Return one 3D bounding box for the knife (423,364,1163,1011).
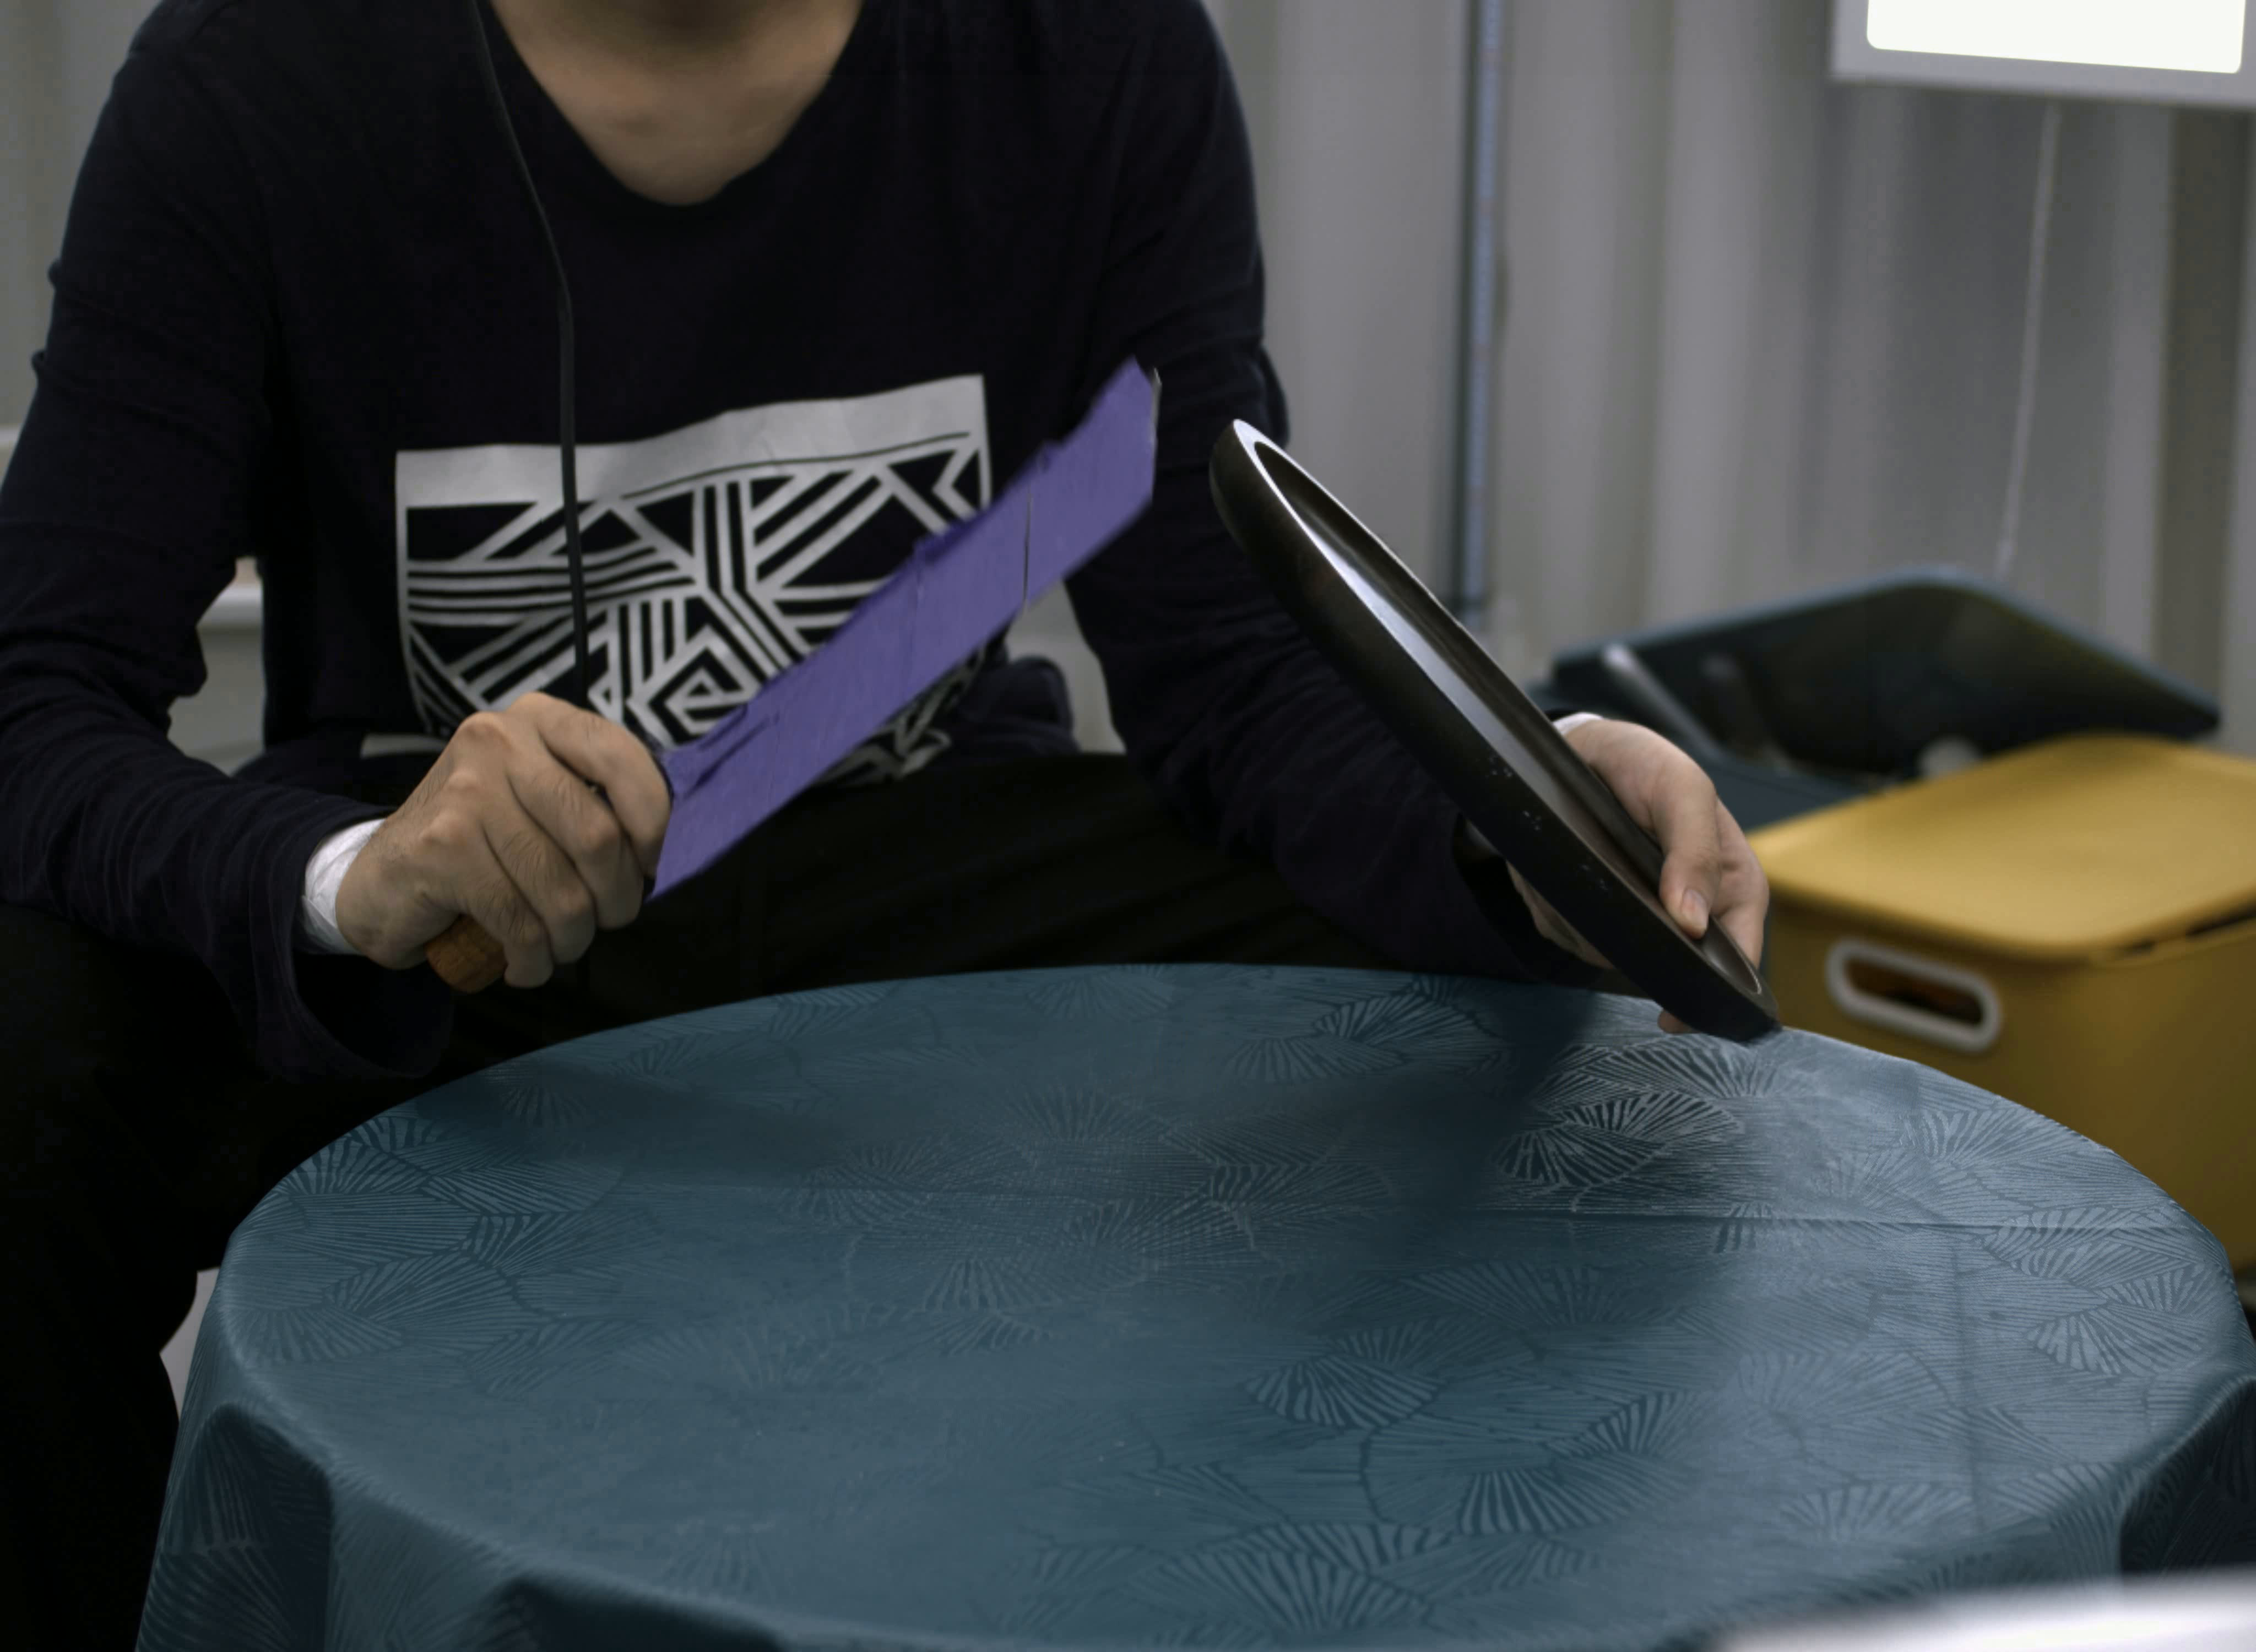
[{"bbox_3d":[-0.107,-0.028,1.604,0.315,0.032,0.103,-39,20,23],"label":"knife"}]

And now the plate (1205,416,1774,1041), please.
[{"bbox_3d":[0.111,-0.029,1.641,0.029,0.256,0.253,-42,14,9],"label":"plate"}]
